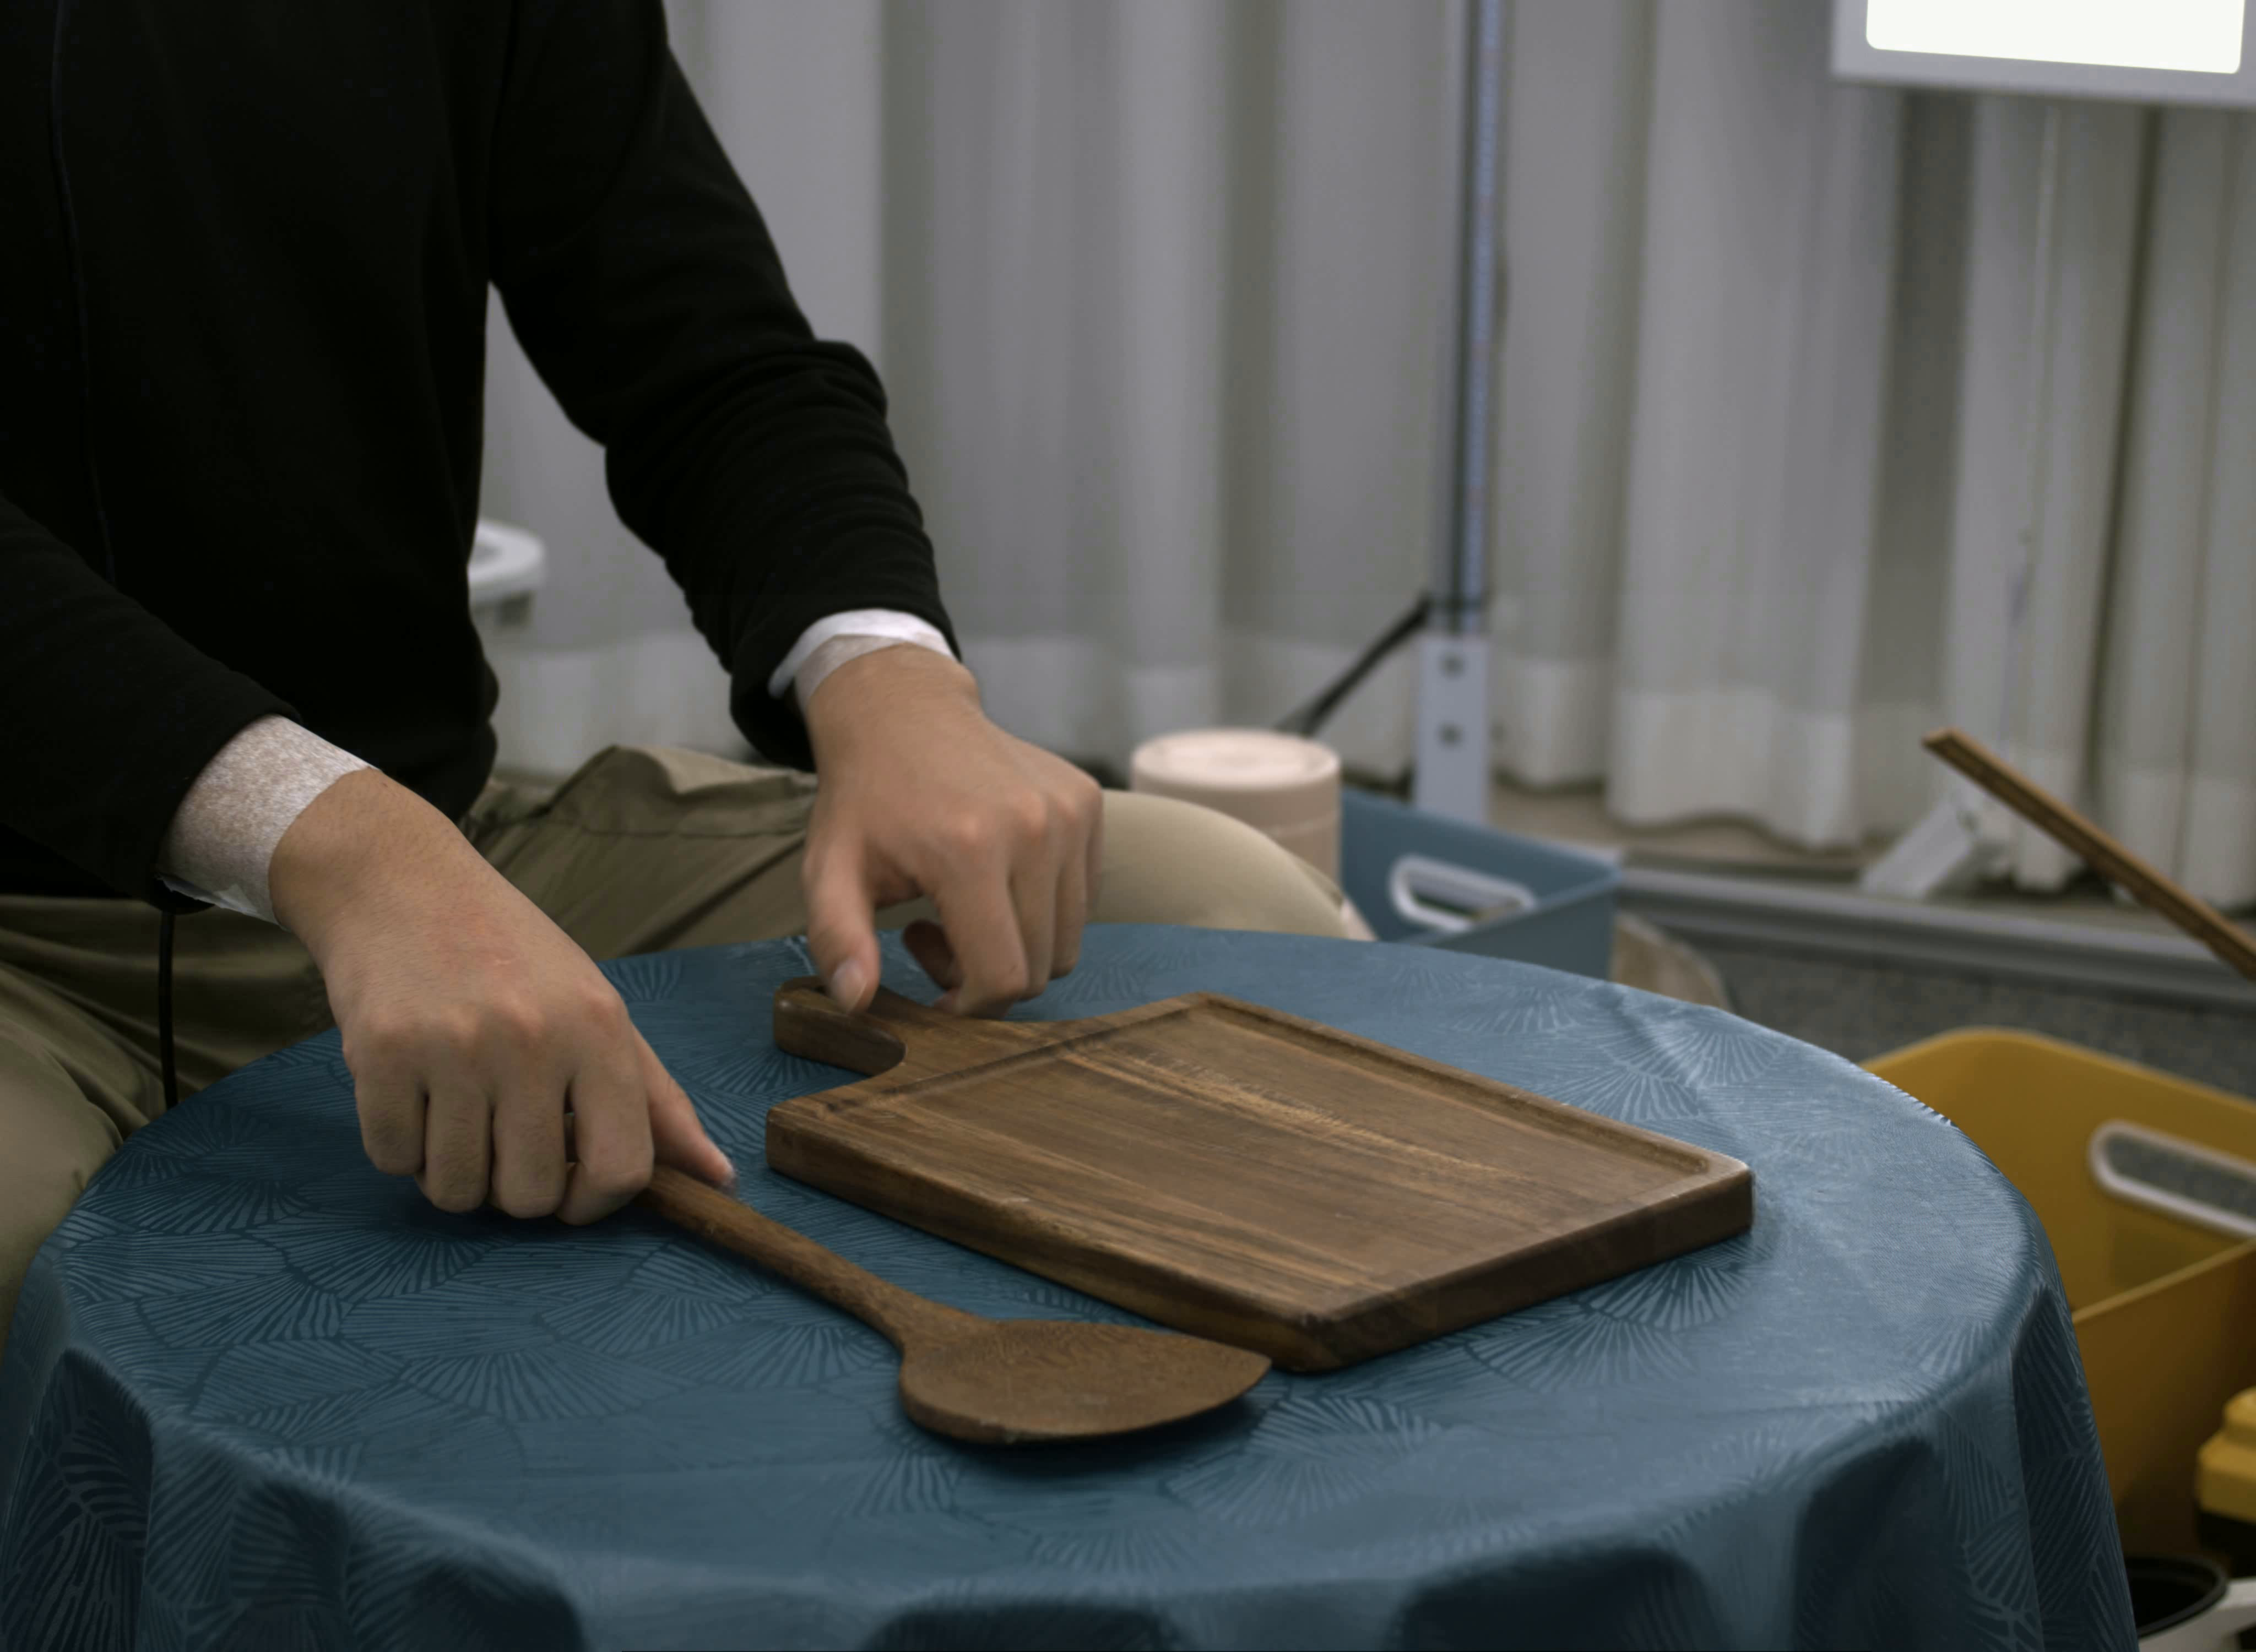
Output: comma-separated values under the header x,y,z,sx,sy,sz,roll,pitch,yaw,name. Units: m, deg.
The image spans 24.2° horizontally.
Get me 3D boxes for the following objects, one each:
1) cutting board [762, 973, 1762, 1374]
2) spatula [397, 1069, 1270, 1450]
x,y,z,sx,sy,sz,roll,pitch,yaw,name
0.006,0.094,1.648,0.202,0.023,0.347,-13,21,-42,cutting board
-0.109,0.121,1.551,0.096,0.016,0.380,-11,20,-38,spatula
